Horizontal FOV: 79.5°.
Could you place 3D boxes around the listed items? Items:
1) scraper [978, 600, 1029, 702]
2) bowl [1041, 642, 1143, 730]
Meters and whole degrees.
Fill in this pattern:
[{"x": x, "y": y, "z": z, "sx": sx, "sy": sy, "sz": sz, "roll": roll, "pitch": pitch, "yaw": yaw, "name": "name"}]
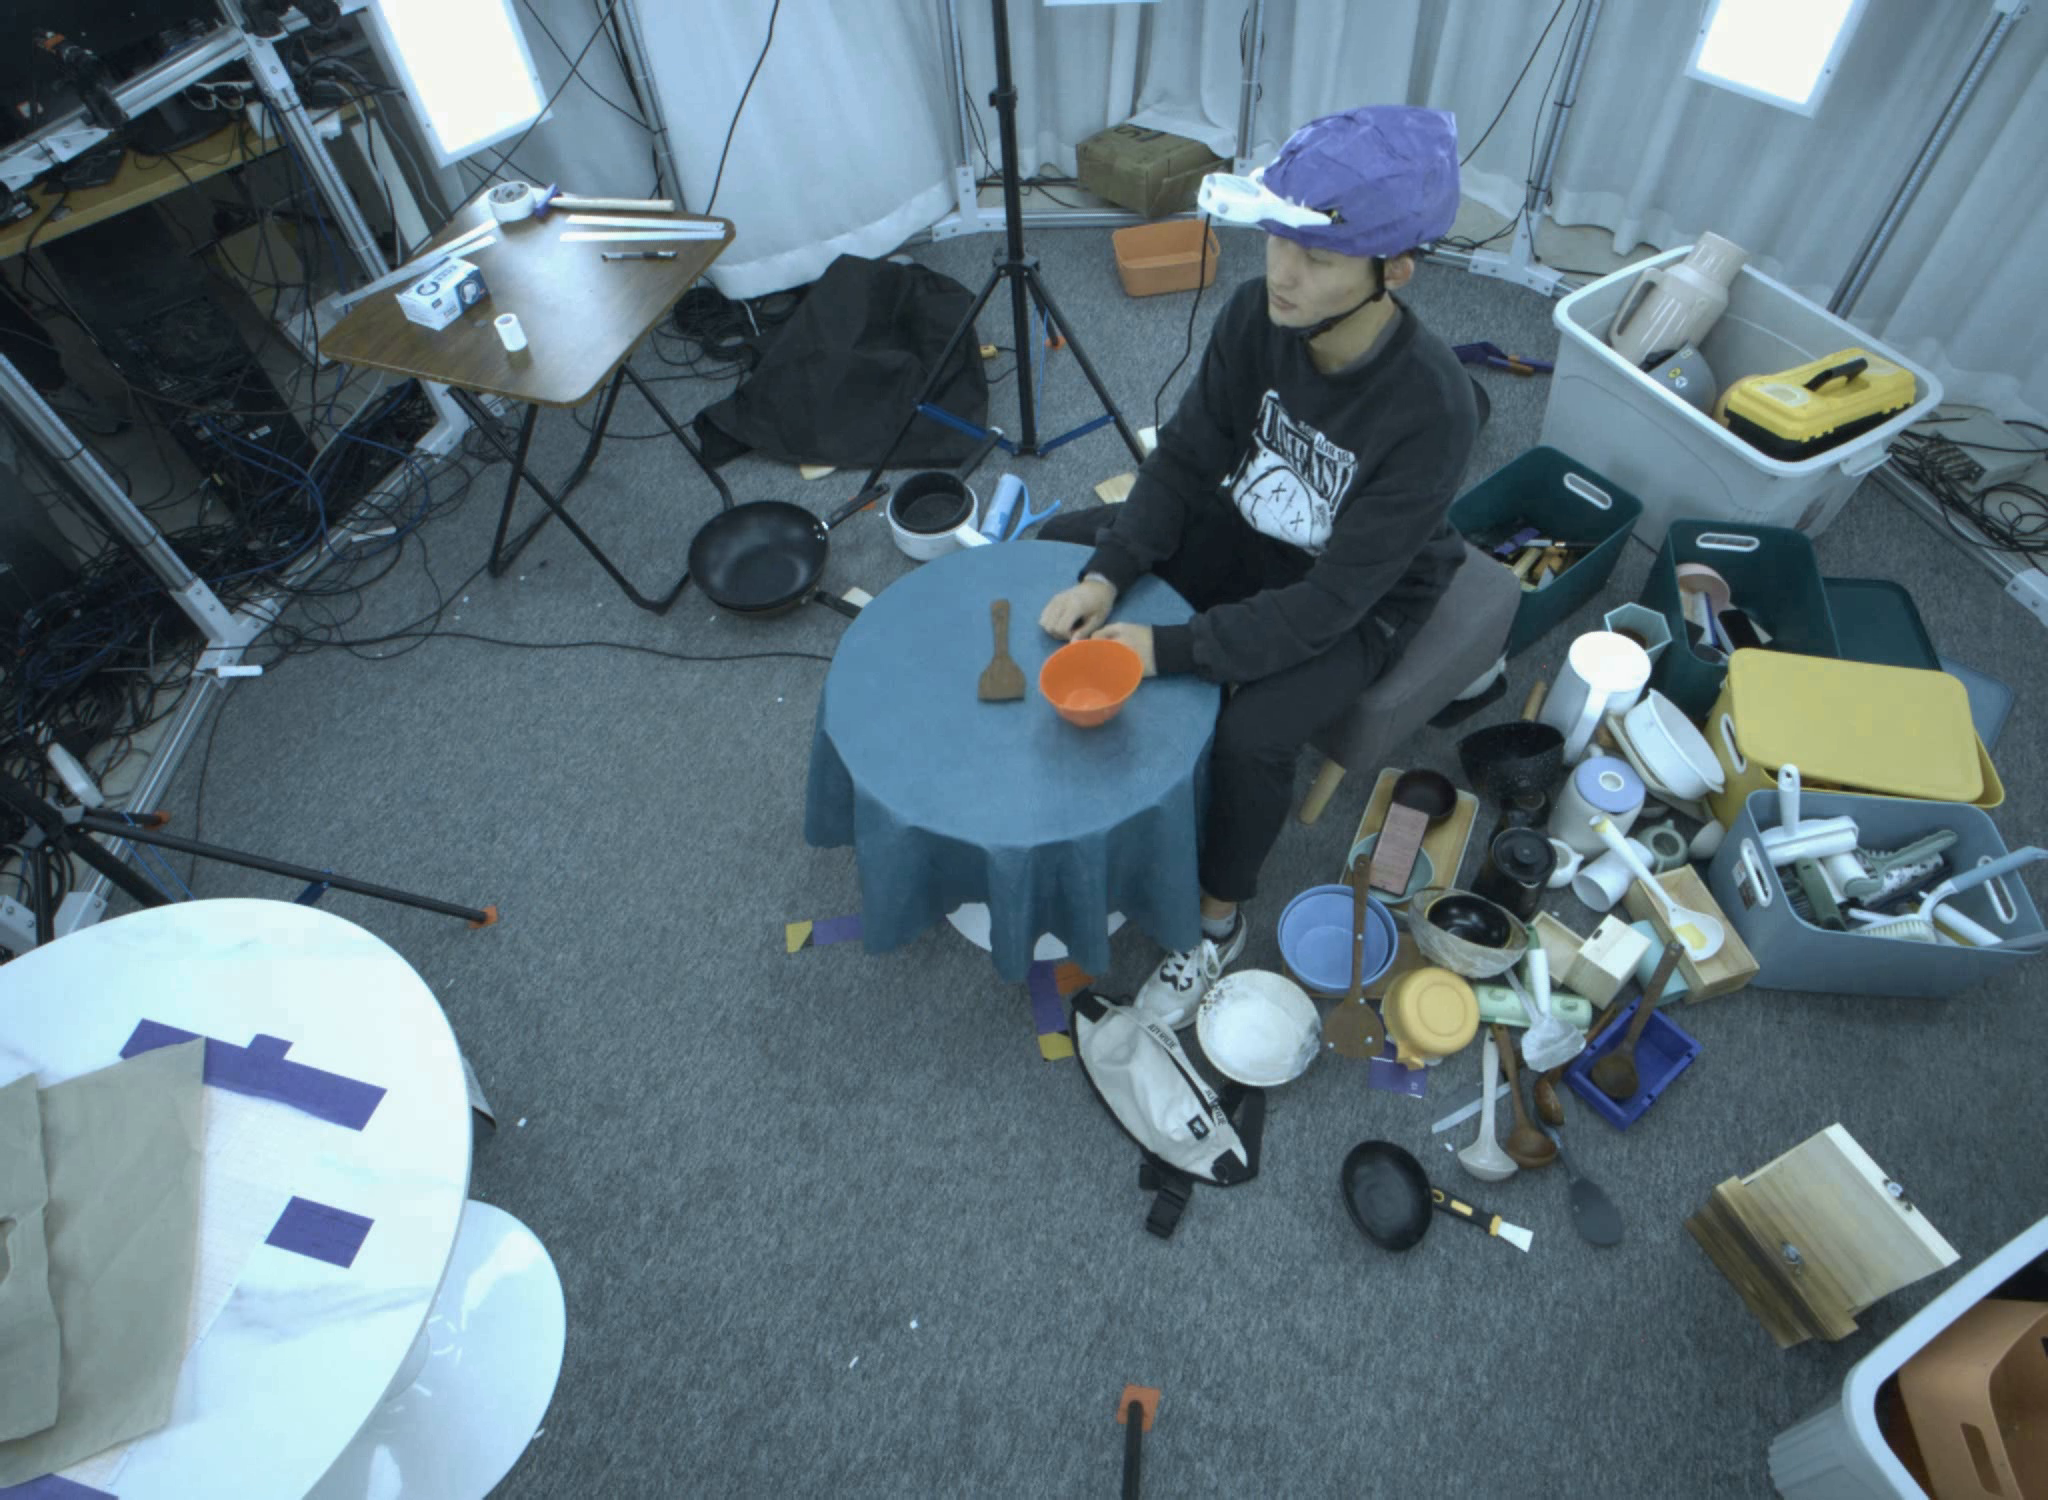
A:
[{"x": -0.034, "y": -0.154, "z": 1.902, "sx": 0.076, "sy": 0.011, "sz": 0.209, "roll": -2, "pitch": 54, "yaw": -1, "name": "scraper"}, {"x": 0.099, "y": -0.080, "z": 1.789, "sx": 0.148, "sy": 0.106, "sz": 0.146, "roll": -1, "pitch": 55, "yaw": 2, "name": "bowl"}]
